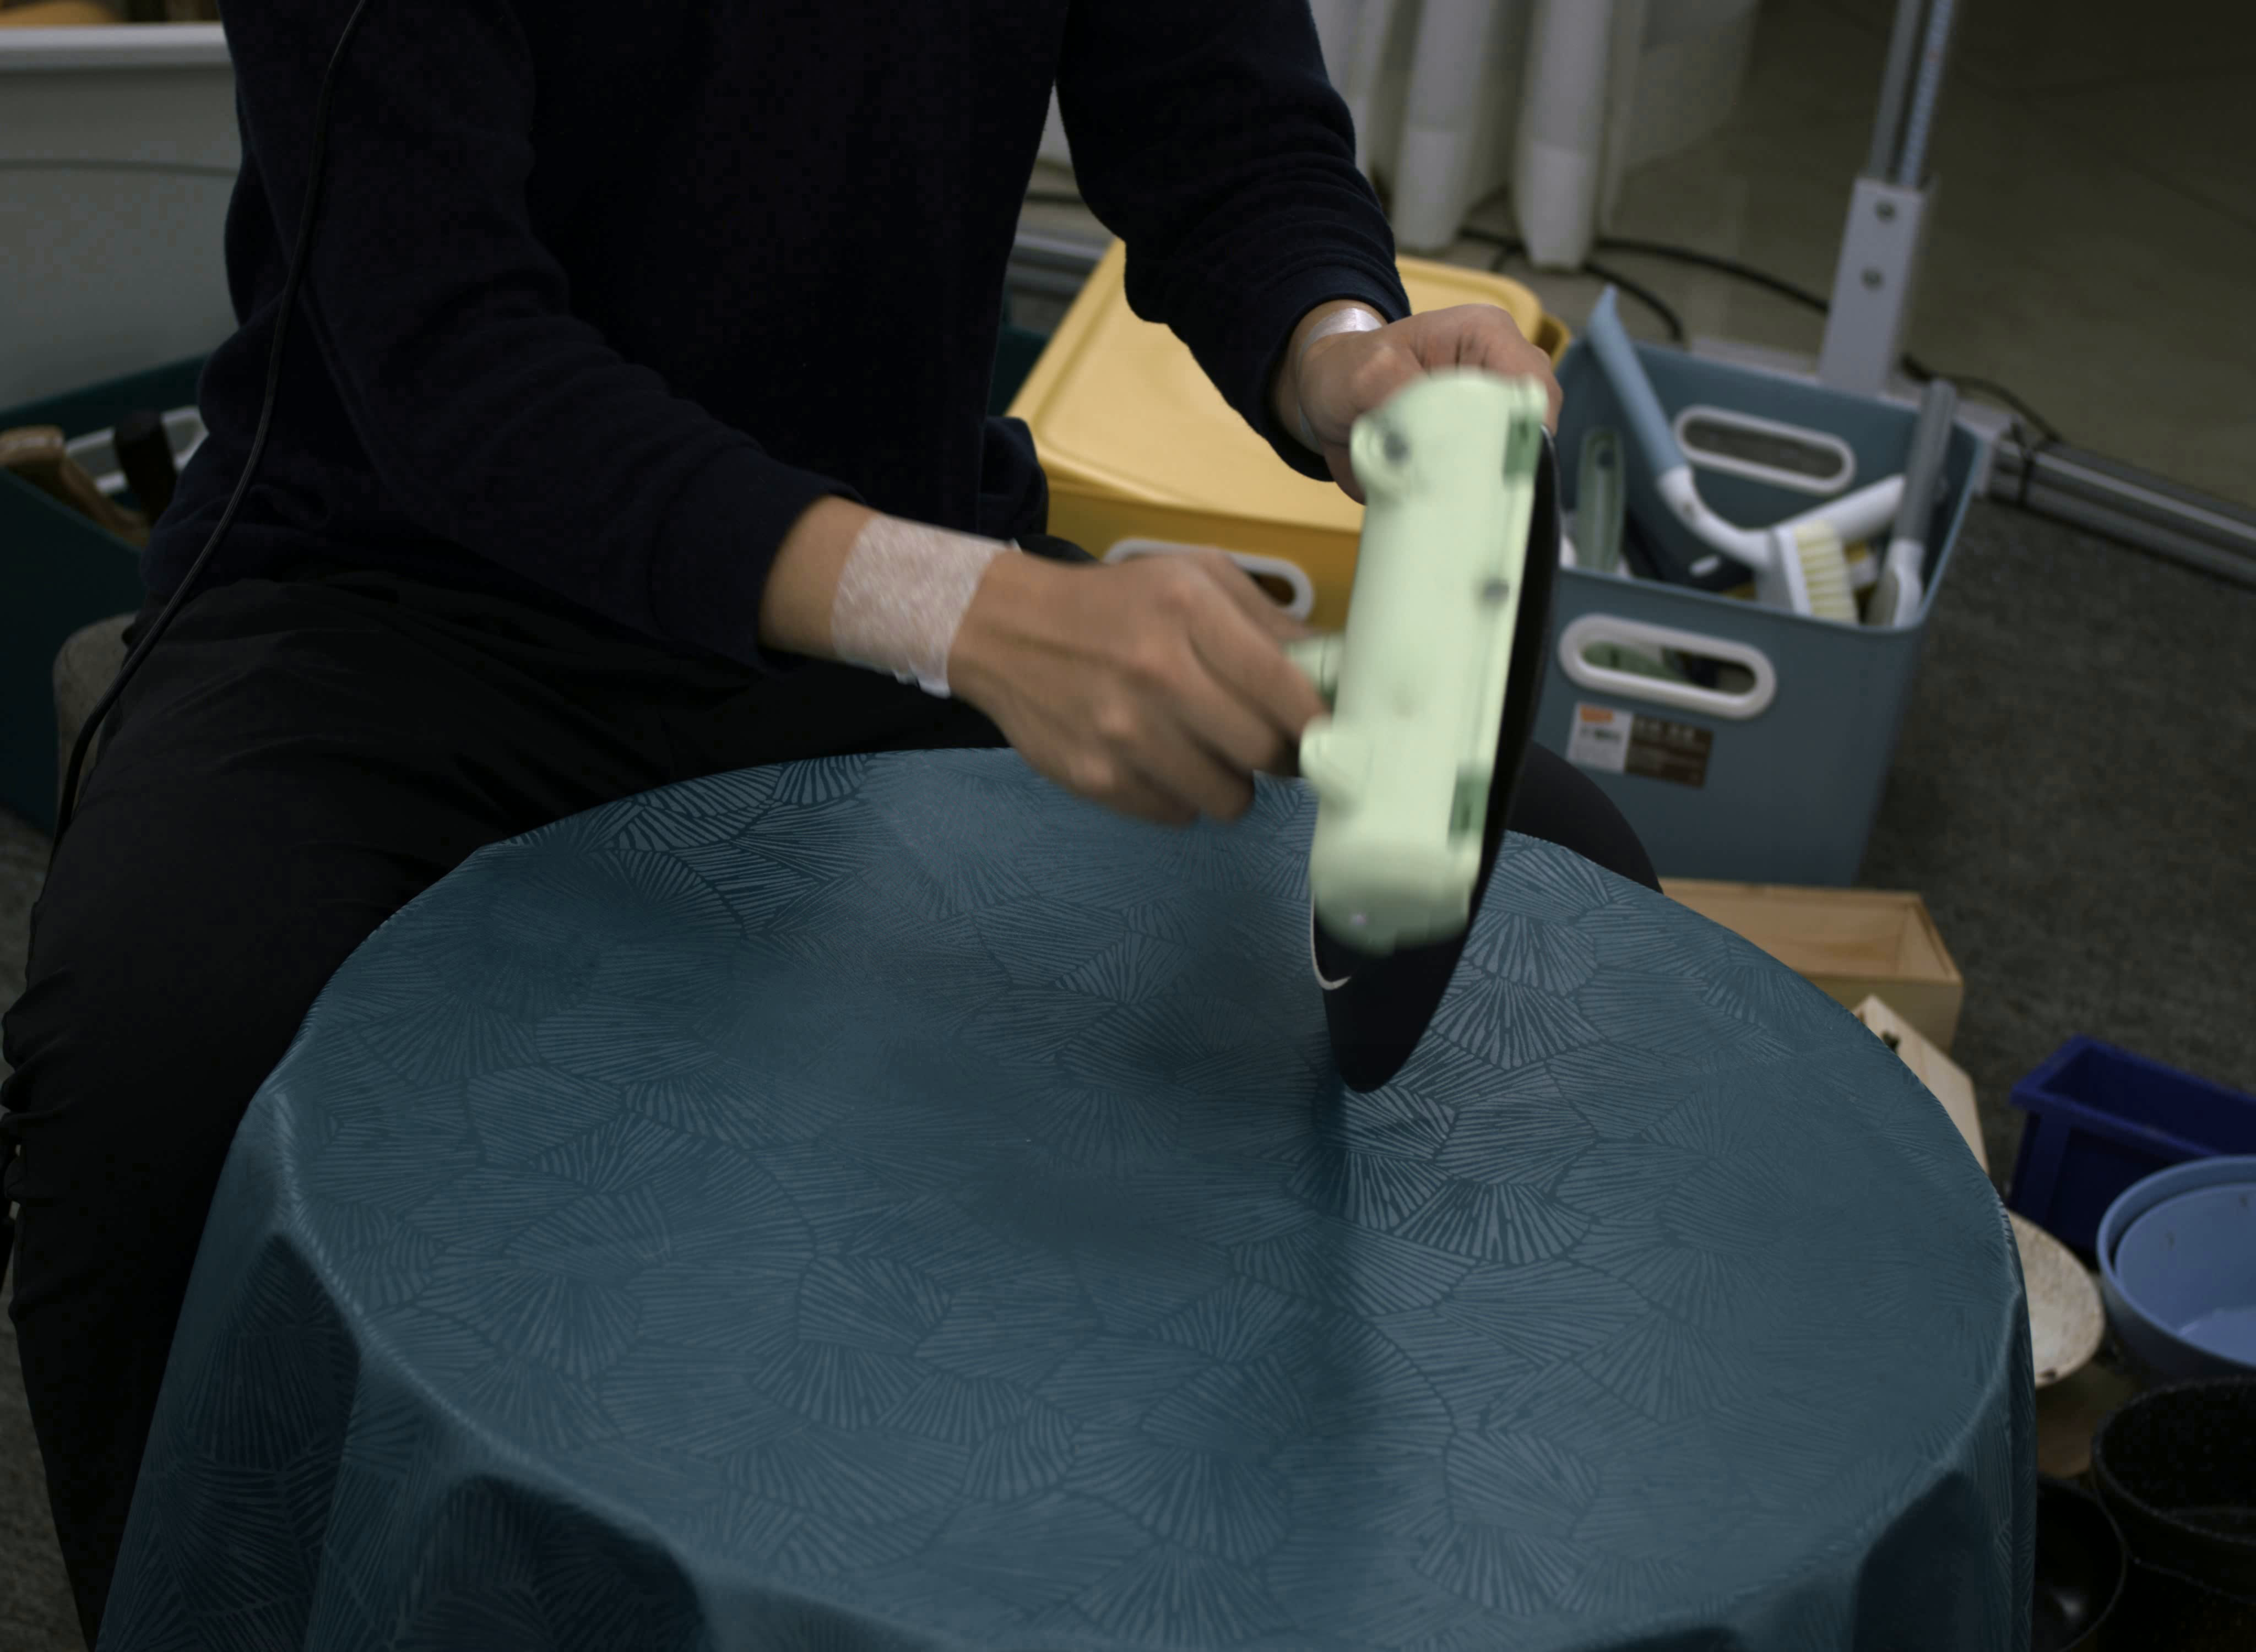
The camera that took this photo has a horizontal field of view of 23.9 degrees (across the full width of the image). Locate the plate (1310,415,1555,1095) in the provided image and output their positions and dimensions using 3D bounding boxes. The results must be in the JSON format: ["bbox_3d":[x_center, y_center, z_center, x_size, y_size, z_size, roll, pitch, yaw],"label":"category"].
[{"bbox_3d":[0.100,-0.027,1.852,0.023,0.244,0.246,14,26,-8],"label":"plate"}]

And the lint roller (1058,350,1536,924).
[{"bbox_3d":[0.044,-0.061,1.769,0.184,0.081,0.200,-8,57,27],"label":"lint roller"}]
